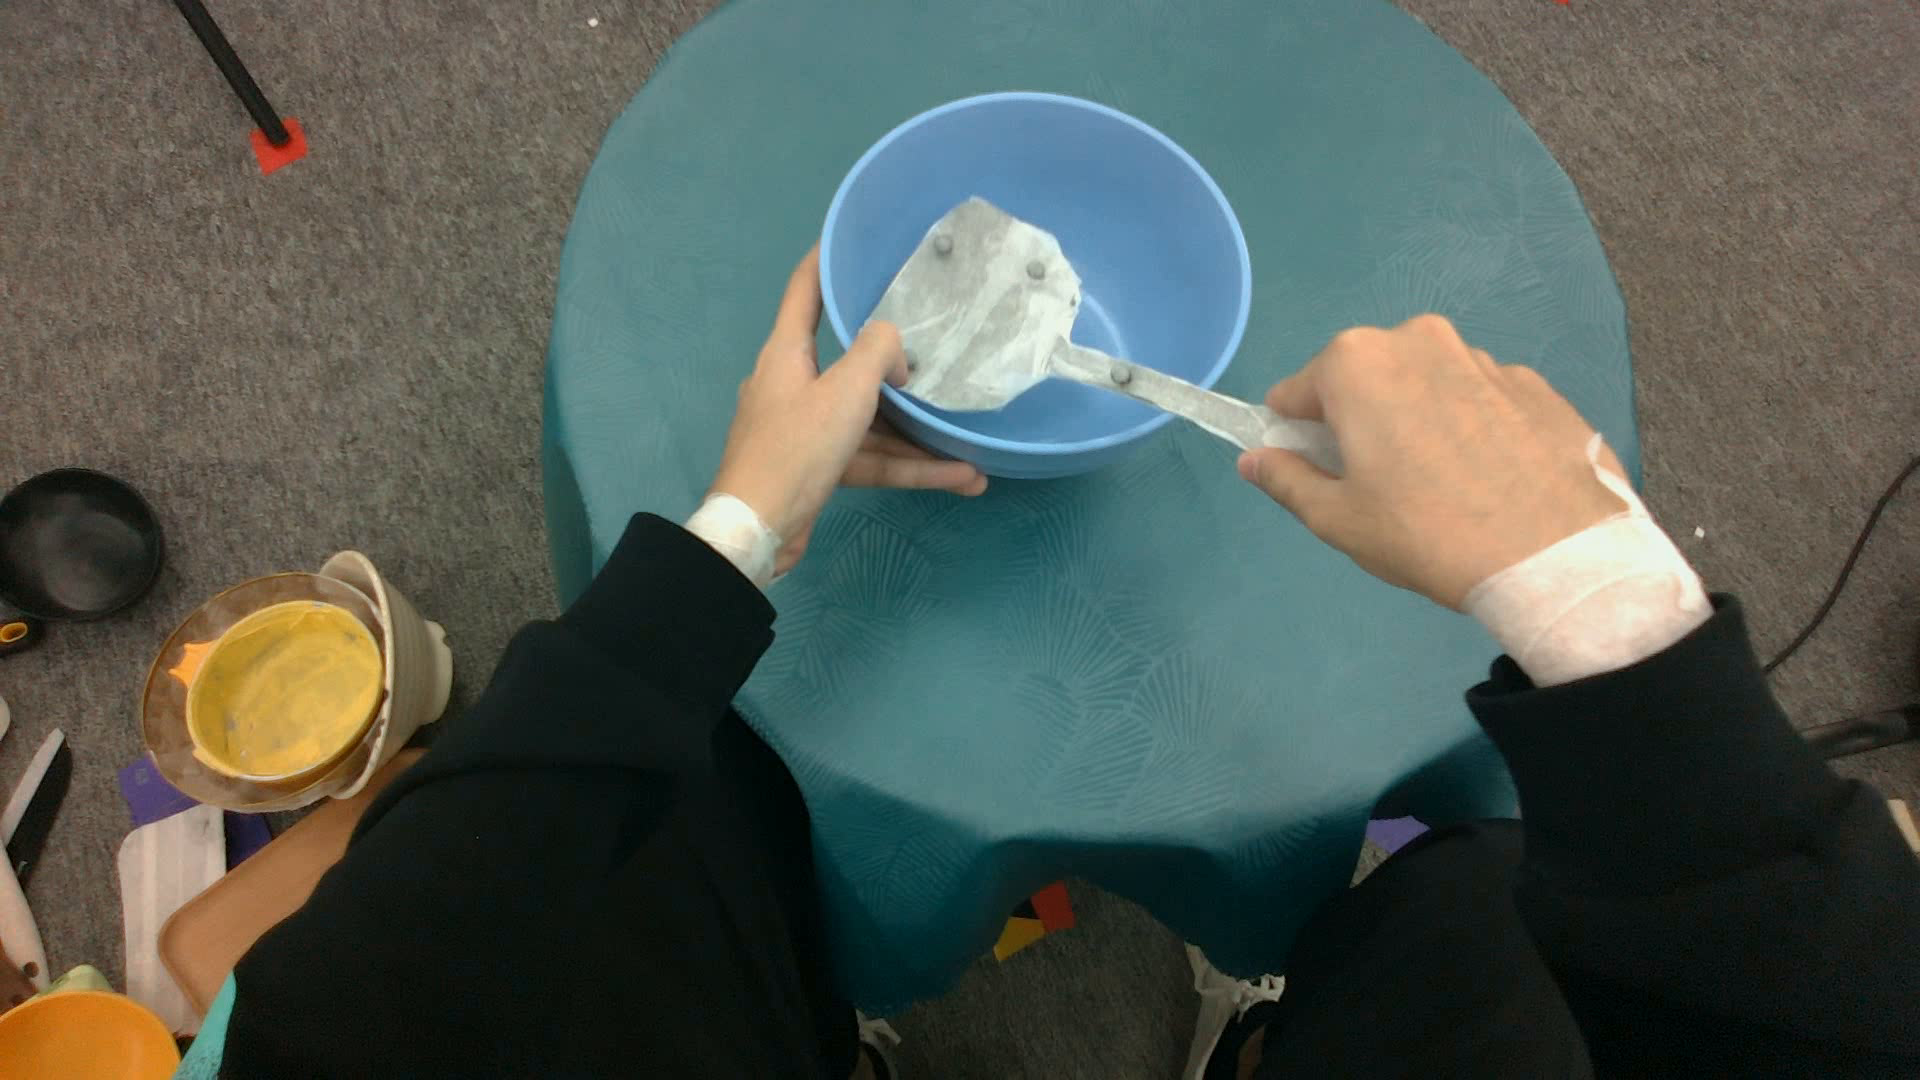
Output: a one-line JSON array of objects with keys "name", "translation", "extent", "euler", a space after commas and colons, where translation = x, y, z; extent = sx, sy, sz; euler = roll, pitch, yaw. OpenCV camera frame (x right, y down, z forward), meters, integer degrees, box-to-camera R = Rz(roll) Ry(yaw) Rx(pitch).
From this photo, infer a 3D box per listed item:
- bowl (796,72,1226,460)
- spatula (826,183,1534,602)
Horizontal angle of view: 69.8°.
[{"name": "bowl", "translation": [0.020, -0.116, 0.664], "extent": [0.196, 0.095, 0.197], "euler": [2, 66, -5]}, {"name": "spatula", "translation": [0.067, -0.065, 0.537], "extent": [0.099, 0.045, 0.365], "euler": [-52, 40, -4]}]
